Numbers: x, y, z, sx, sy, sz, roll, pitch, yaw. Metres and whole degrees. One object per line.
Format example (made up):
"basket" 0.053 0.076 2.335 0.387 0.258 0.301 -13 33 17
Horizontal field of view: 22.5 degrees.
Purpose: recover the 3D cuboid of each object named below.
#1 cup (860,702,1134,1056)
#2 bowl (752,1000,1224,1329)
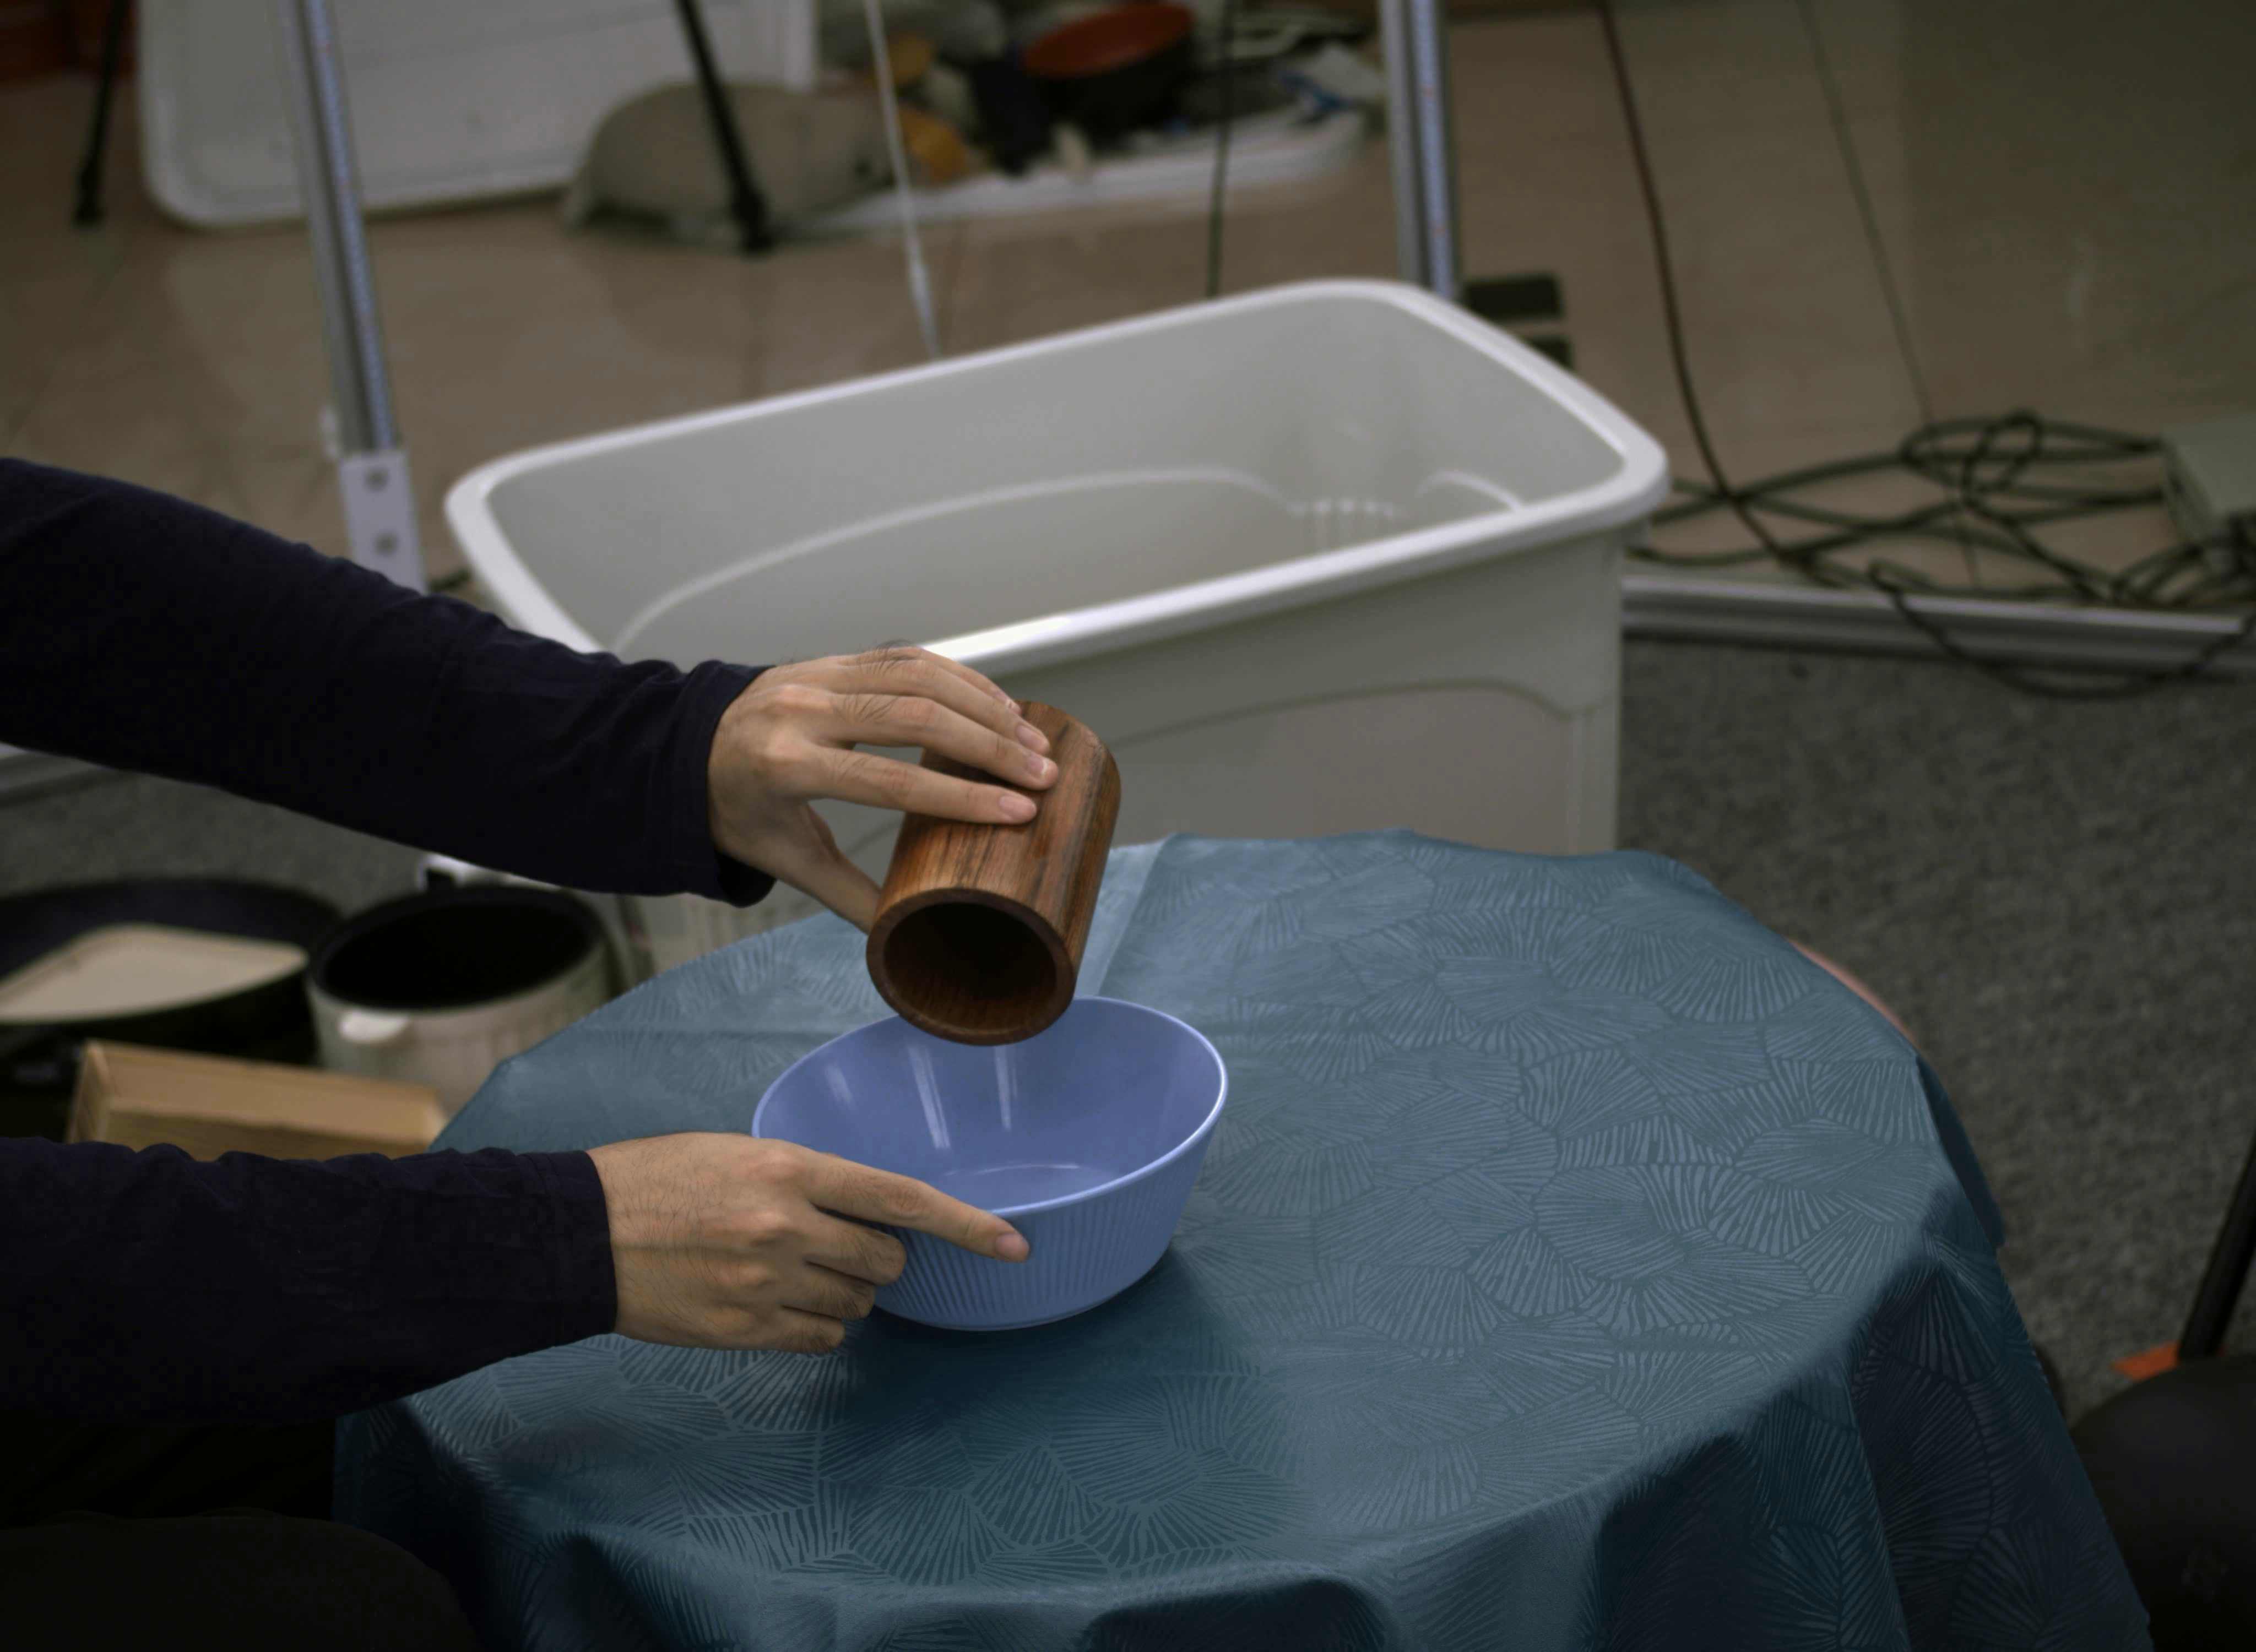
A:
"cup" -0.047 0.020 2.127 0.087 0.089 0.116 1 39 15
"bowl" -0.048 0.130 2.094 0.176 0.071 0.173 -6 25 3
